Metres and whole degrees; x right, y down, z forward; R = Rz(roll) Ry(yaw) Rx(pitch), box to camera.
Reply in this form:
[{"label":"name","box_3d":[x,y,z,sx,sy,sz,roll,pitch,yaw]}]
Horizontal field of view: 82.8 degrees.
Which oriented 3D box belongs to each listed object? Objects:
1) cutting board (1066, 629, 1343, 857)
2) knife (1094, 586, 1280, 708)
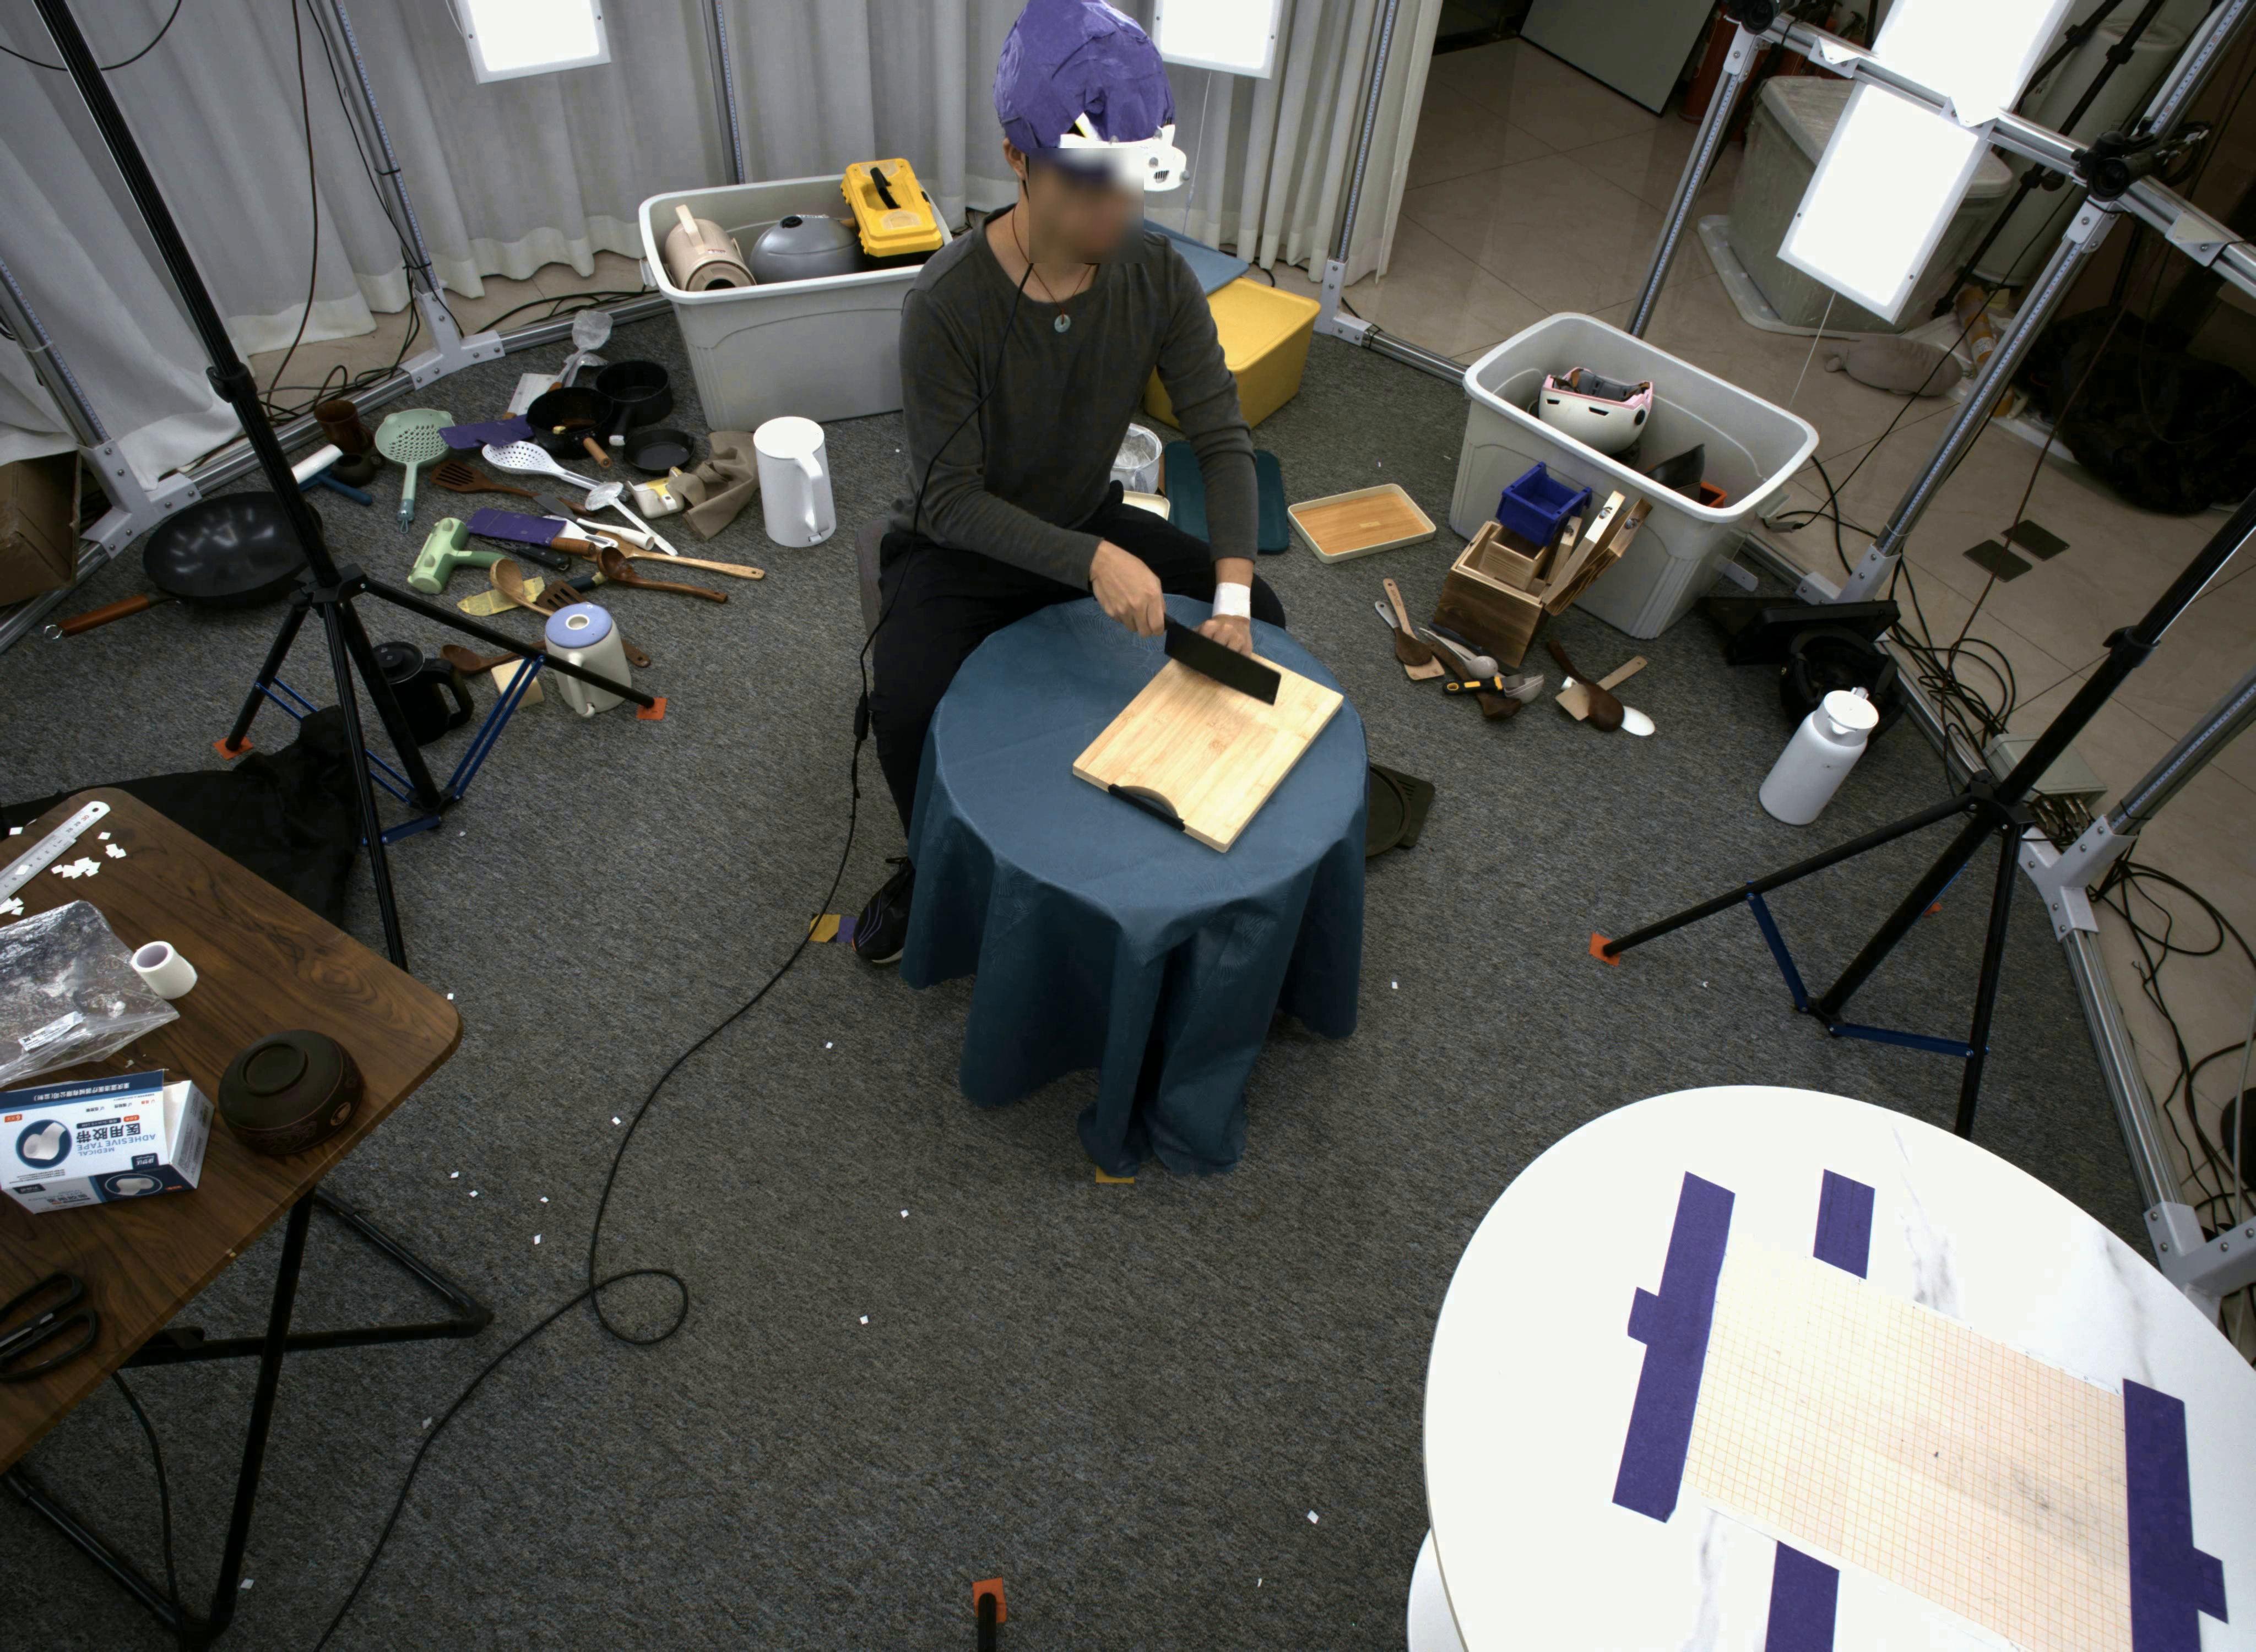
[{"label":"cutting board","box_3d":[0.113,-0.125,1.773,0.253,0.023,0.354,27,52,19]},{"label":"knife","box_3d":[0.080,-0.254,1.797,0.305,0.079,0.021,33,52,15]}]
